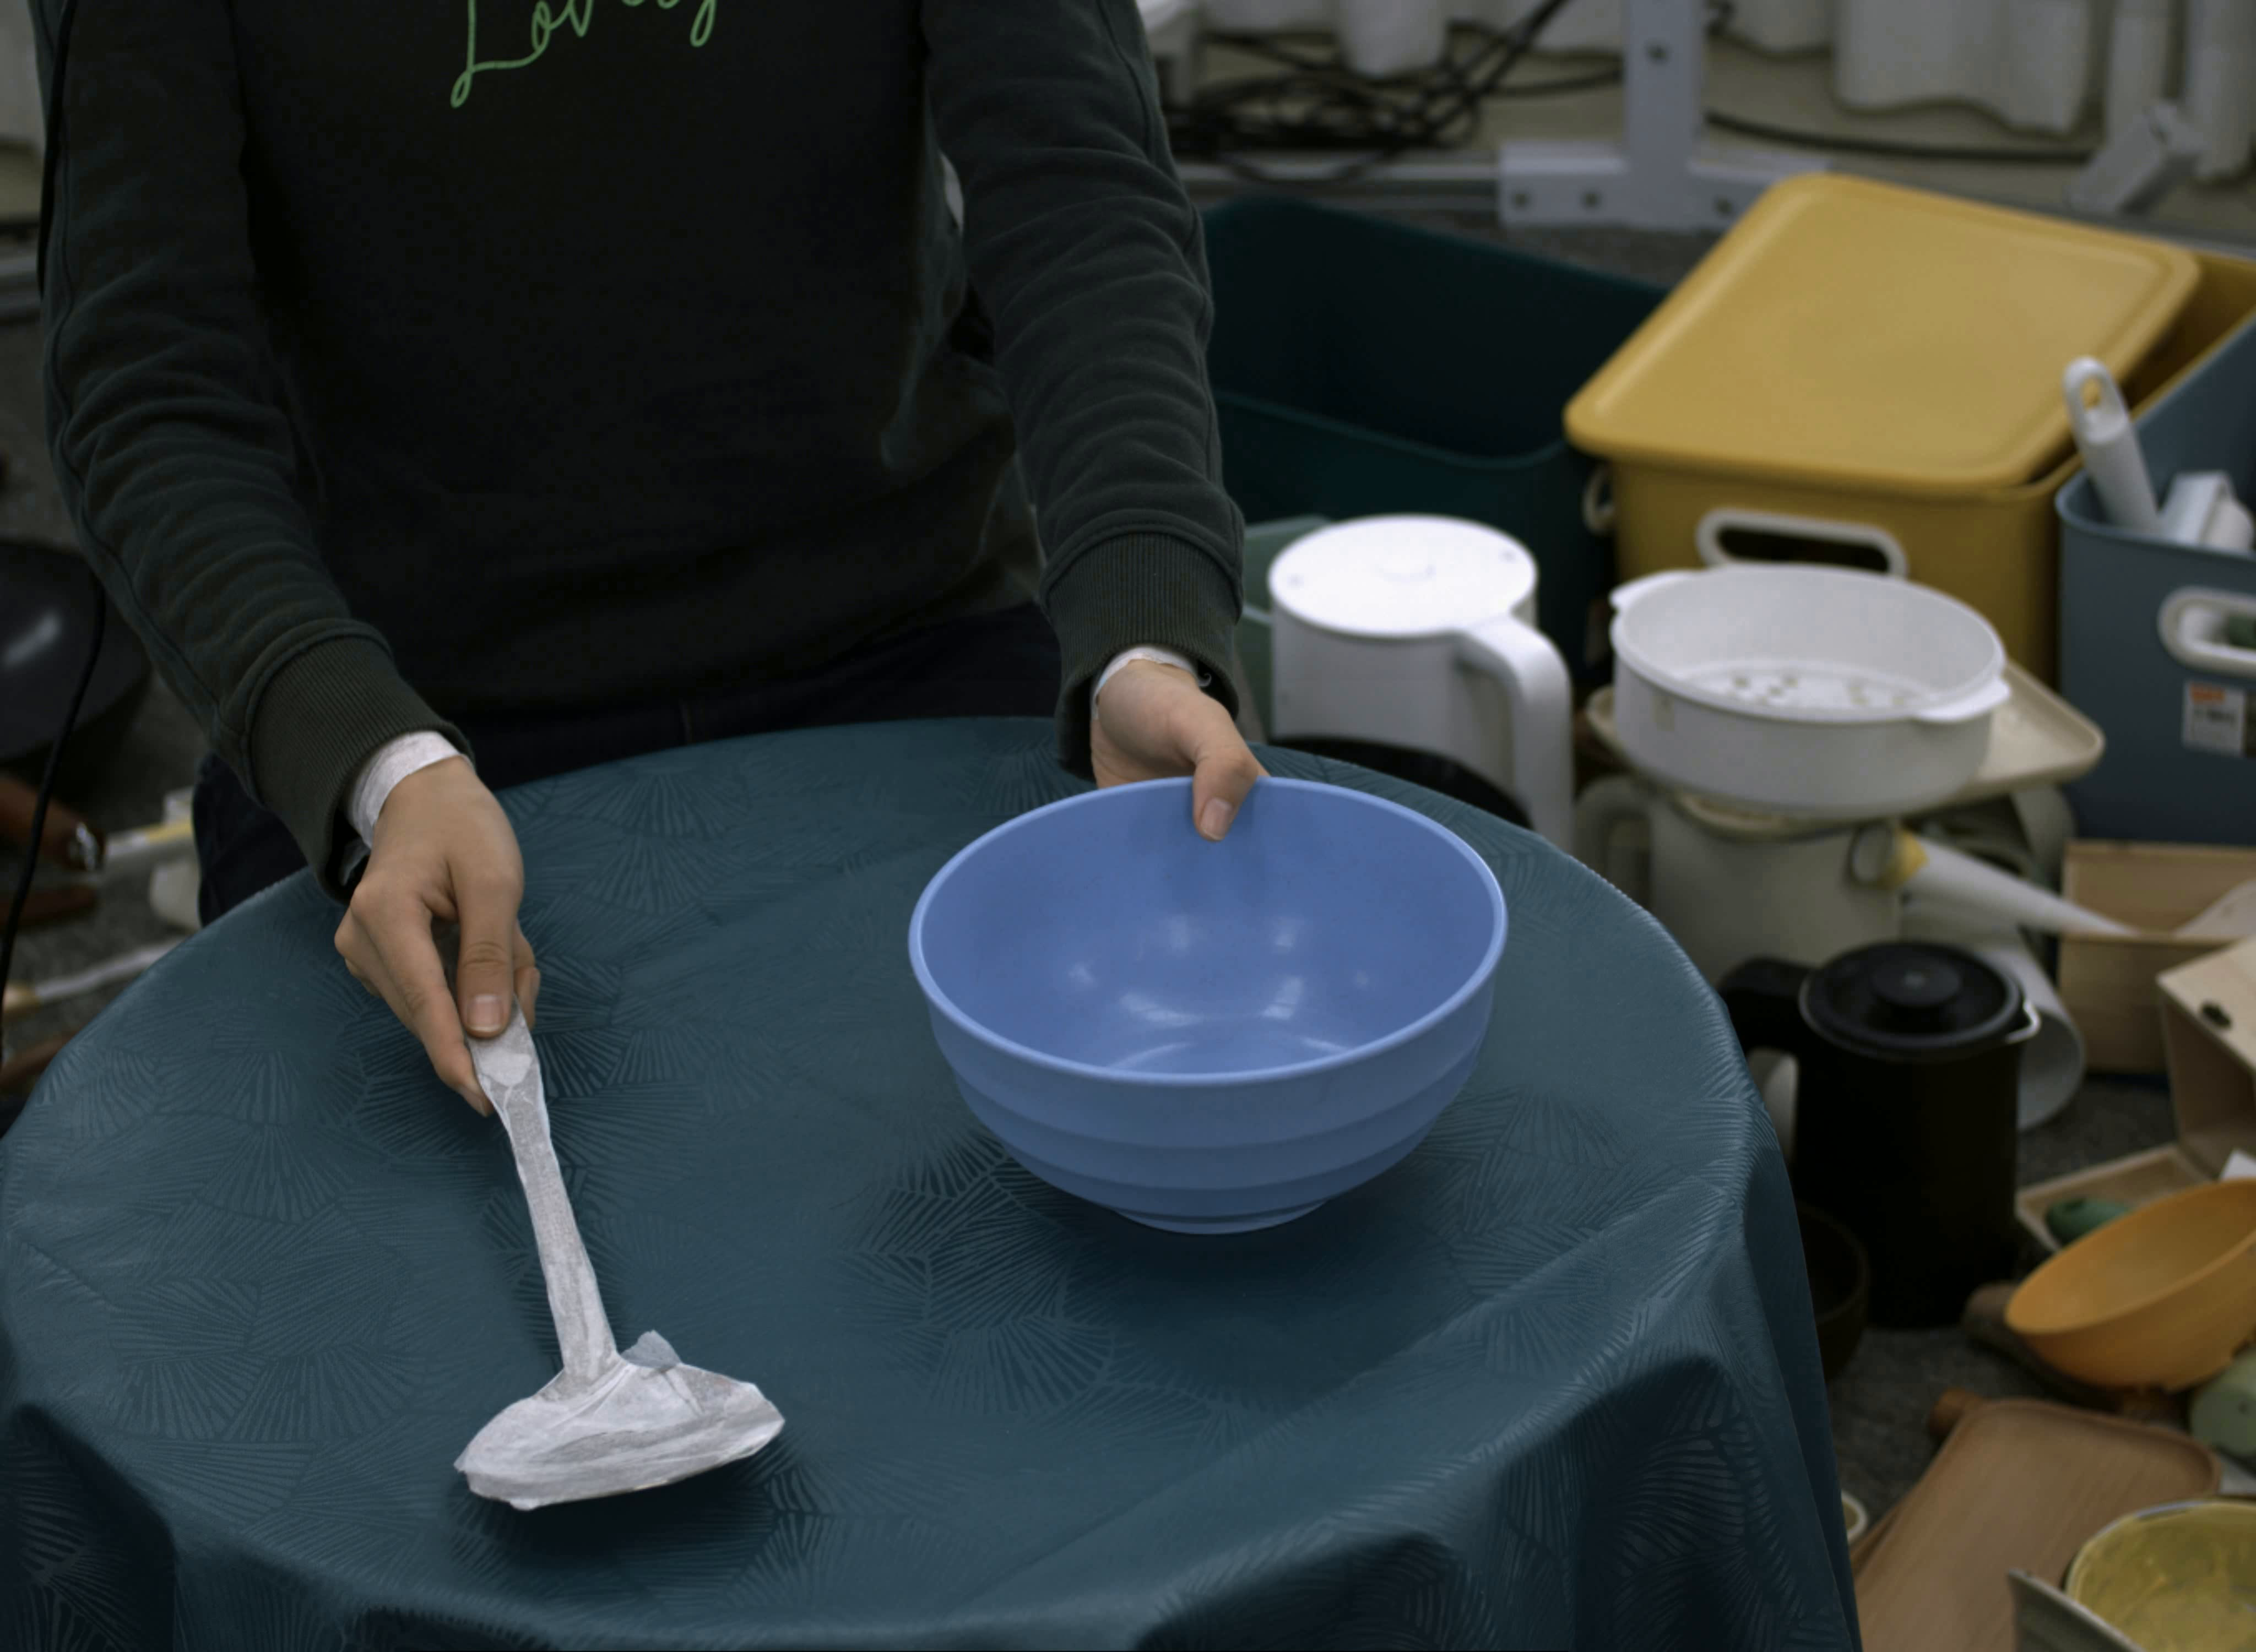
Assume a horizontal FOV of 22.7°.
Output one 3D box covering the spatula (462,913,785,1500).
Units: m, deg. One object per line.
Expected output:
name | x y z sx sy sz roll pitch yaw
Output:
spatula | -0.187 0.114 1.827 0.098 0.044 0.370 -12 35 -8

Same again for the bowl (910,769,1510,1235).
bowl | 0.029 0.070 1.852 0.195 0.094 0.200 -2 30 2
